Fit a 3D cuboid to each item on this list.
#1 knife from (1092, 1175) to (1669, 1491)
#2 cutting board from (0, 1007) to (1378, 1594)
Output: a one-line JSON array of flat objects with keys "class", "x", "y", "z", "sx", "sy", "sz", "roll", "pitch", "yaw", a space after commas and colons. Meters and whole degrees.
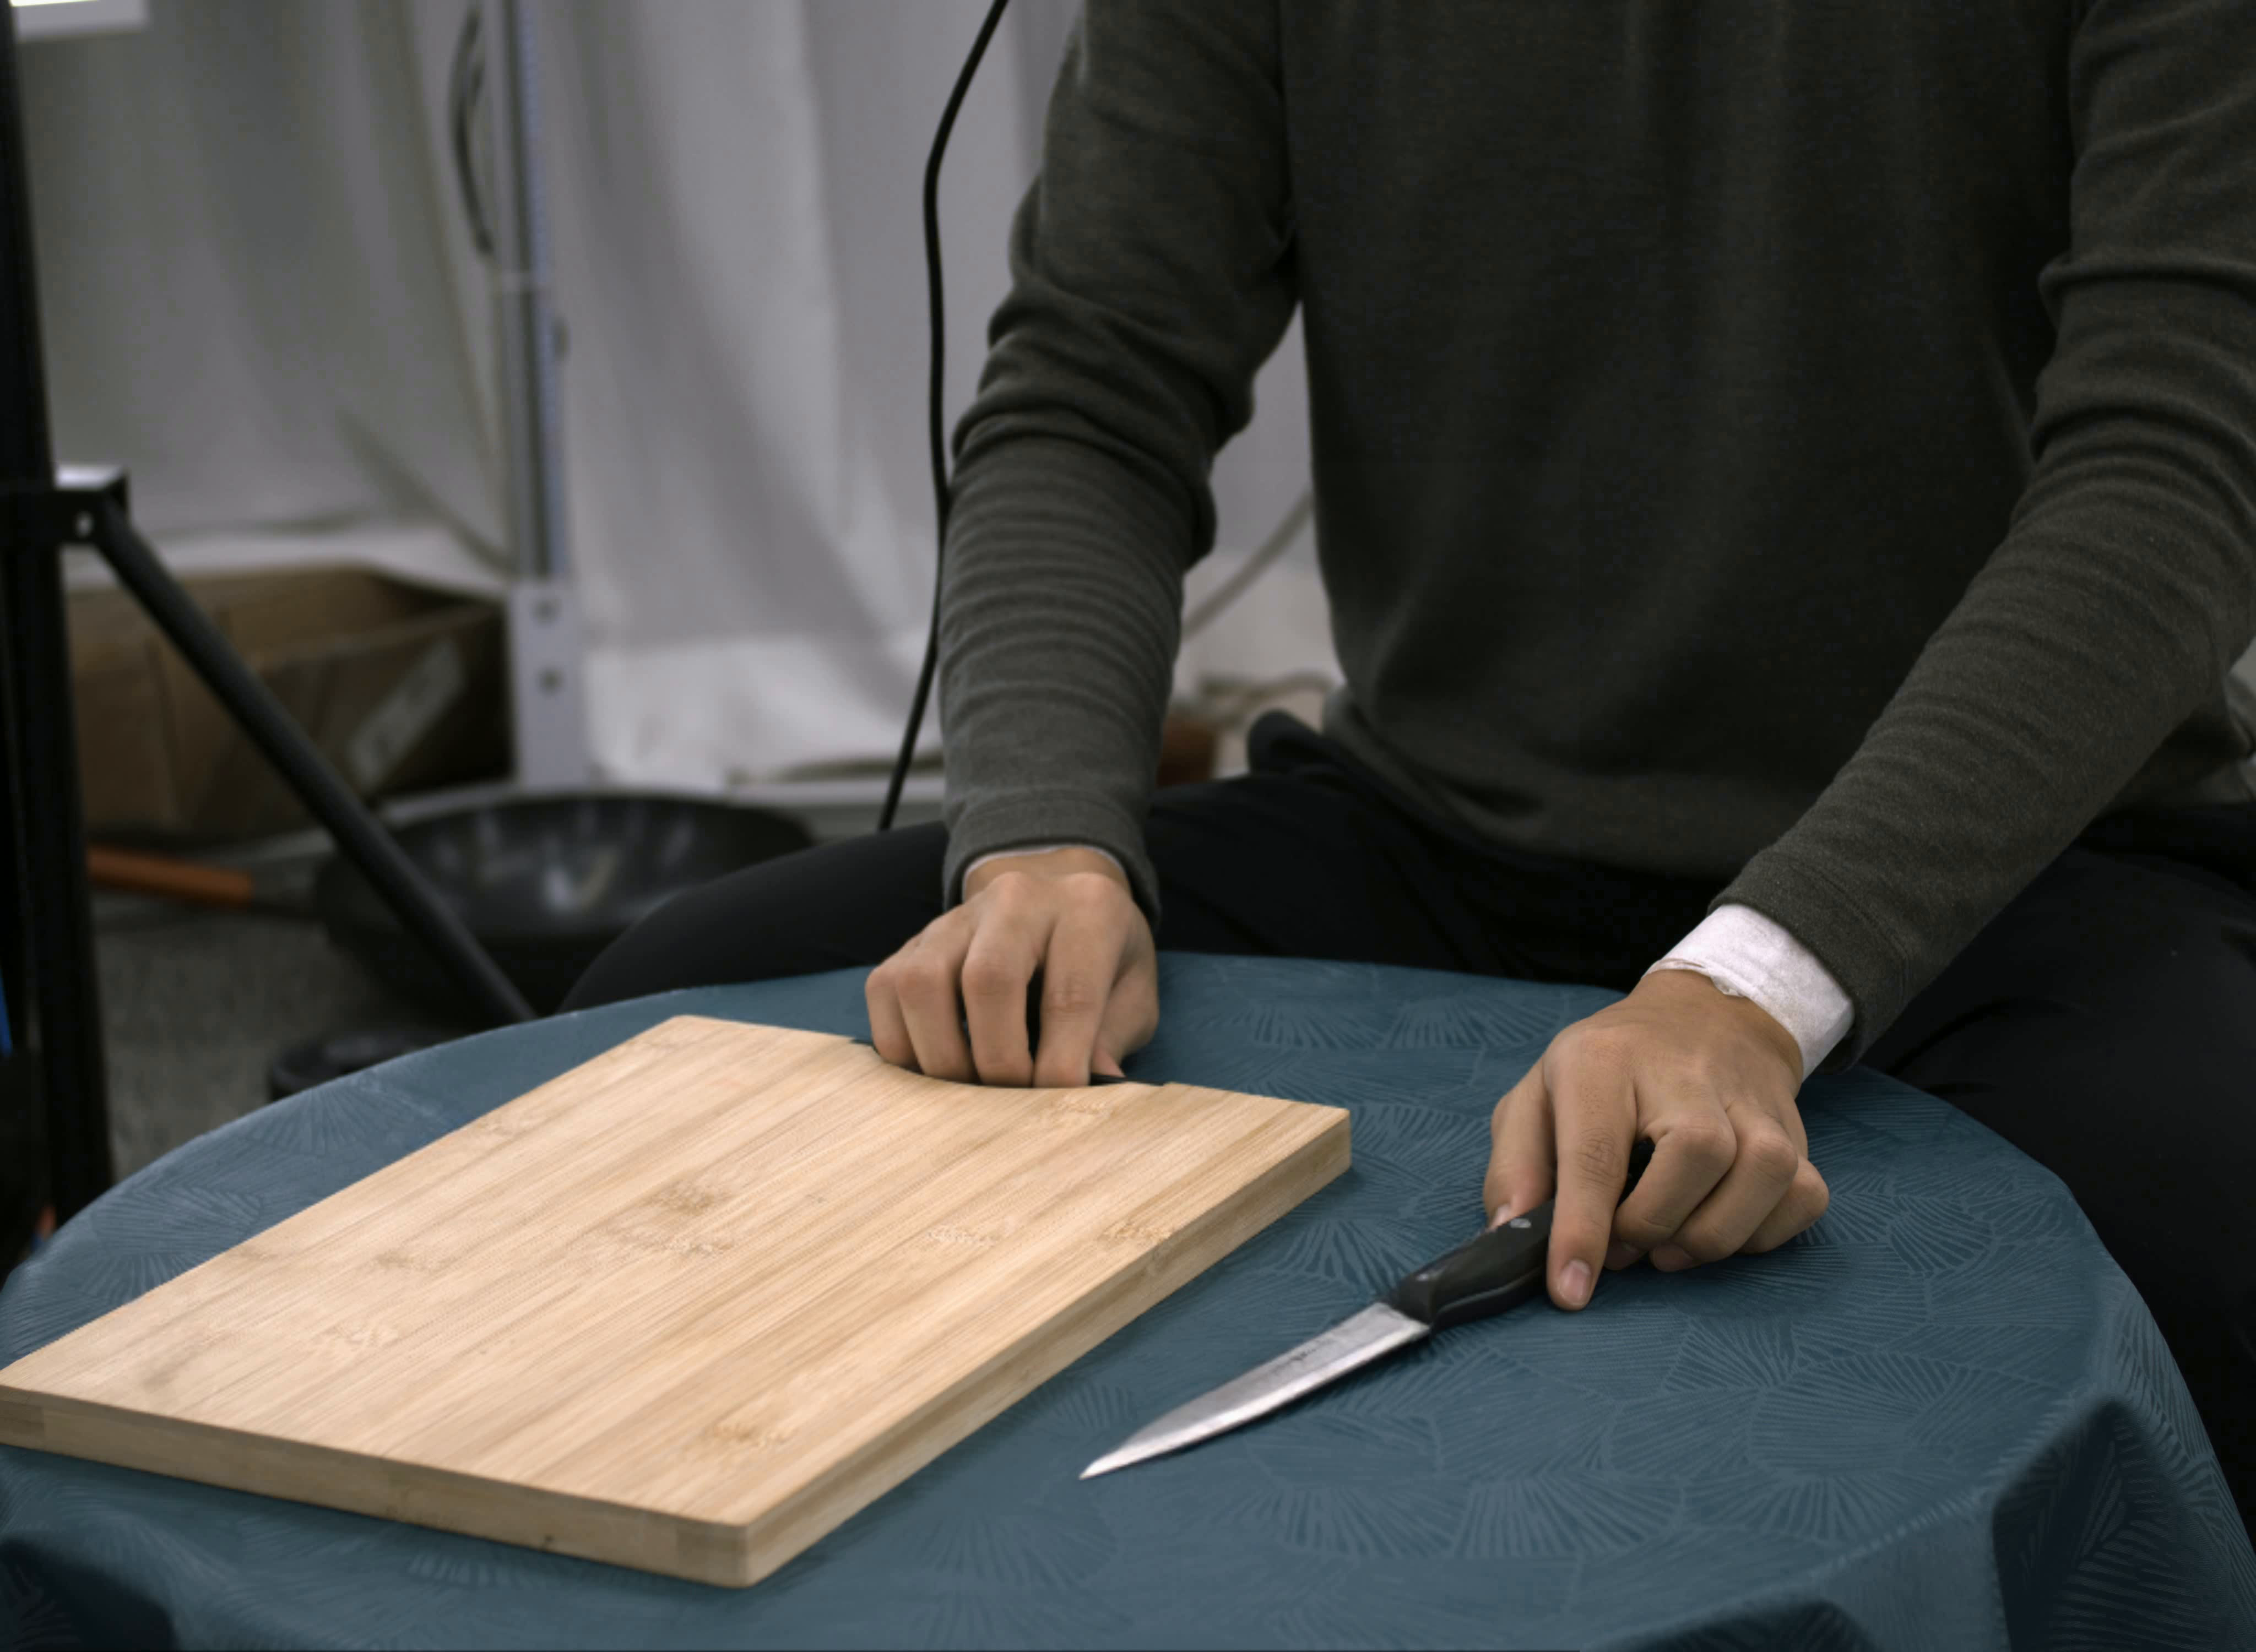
[{"class": "knife", "x": 0.069, "y": 0.137, "z": 1.430, "sx": 0.025, "sy": 0.016, "sz": 0.233, "roll": 12, "pitch": 24, "yaw": 42}, {"class": "cutting board", "x": -0.114, "y": 0.123, "z": 1.498, "sx": 0.255, "sy": 0.023, "sz": 0.343, "roll": 7, "pitch": 18, "yaw": 28}]
